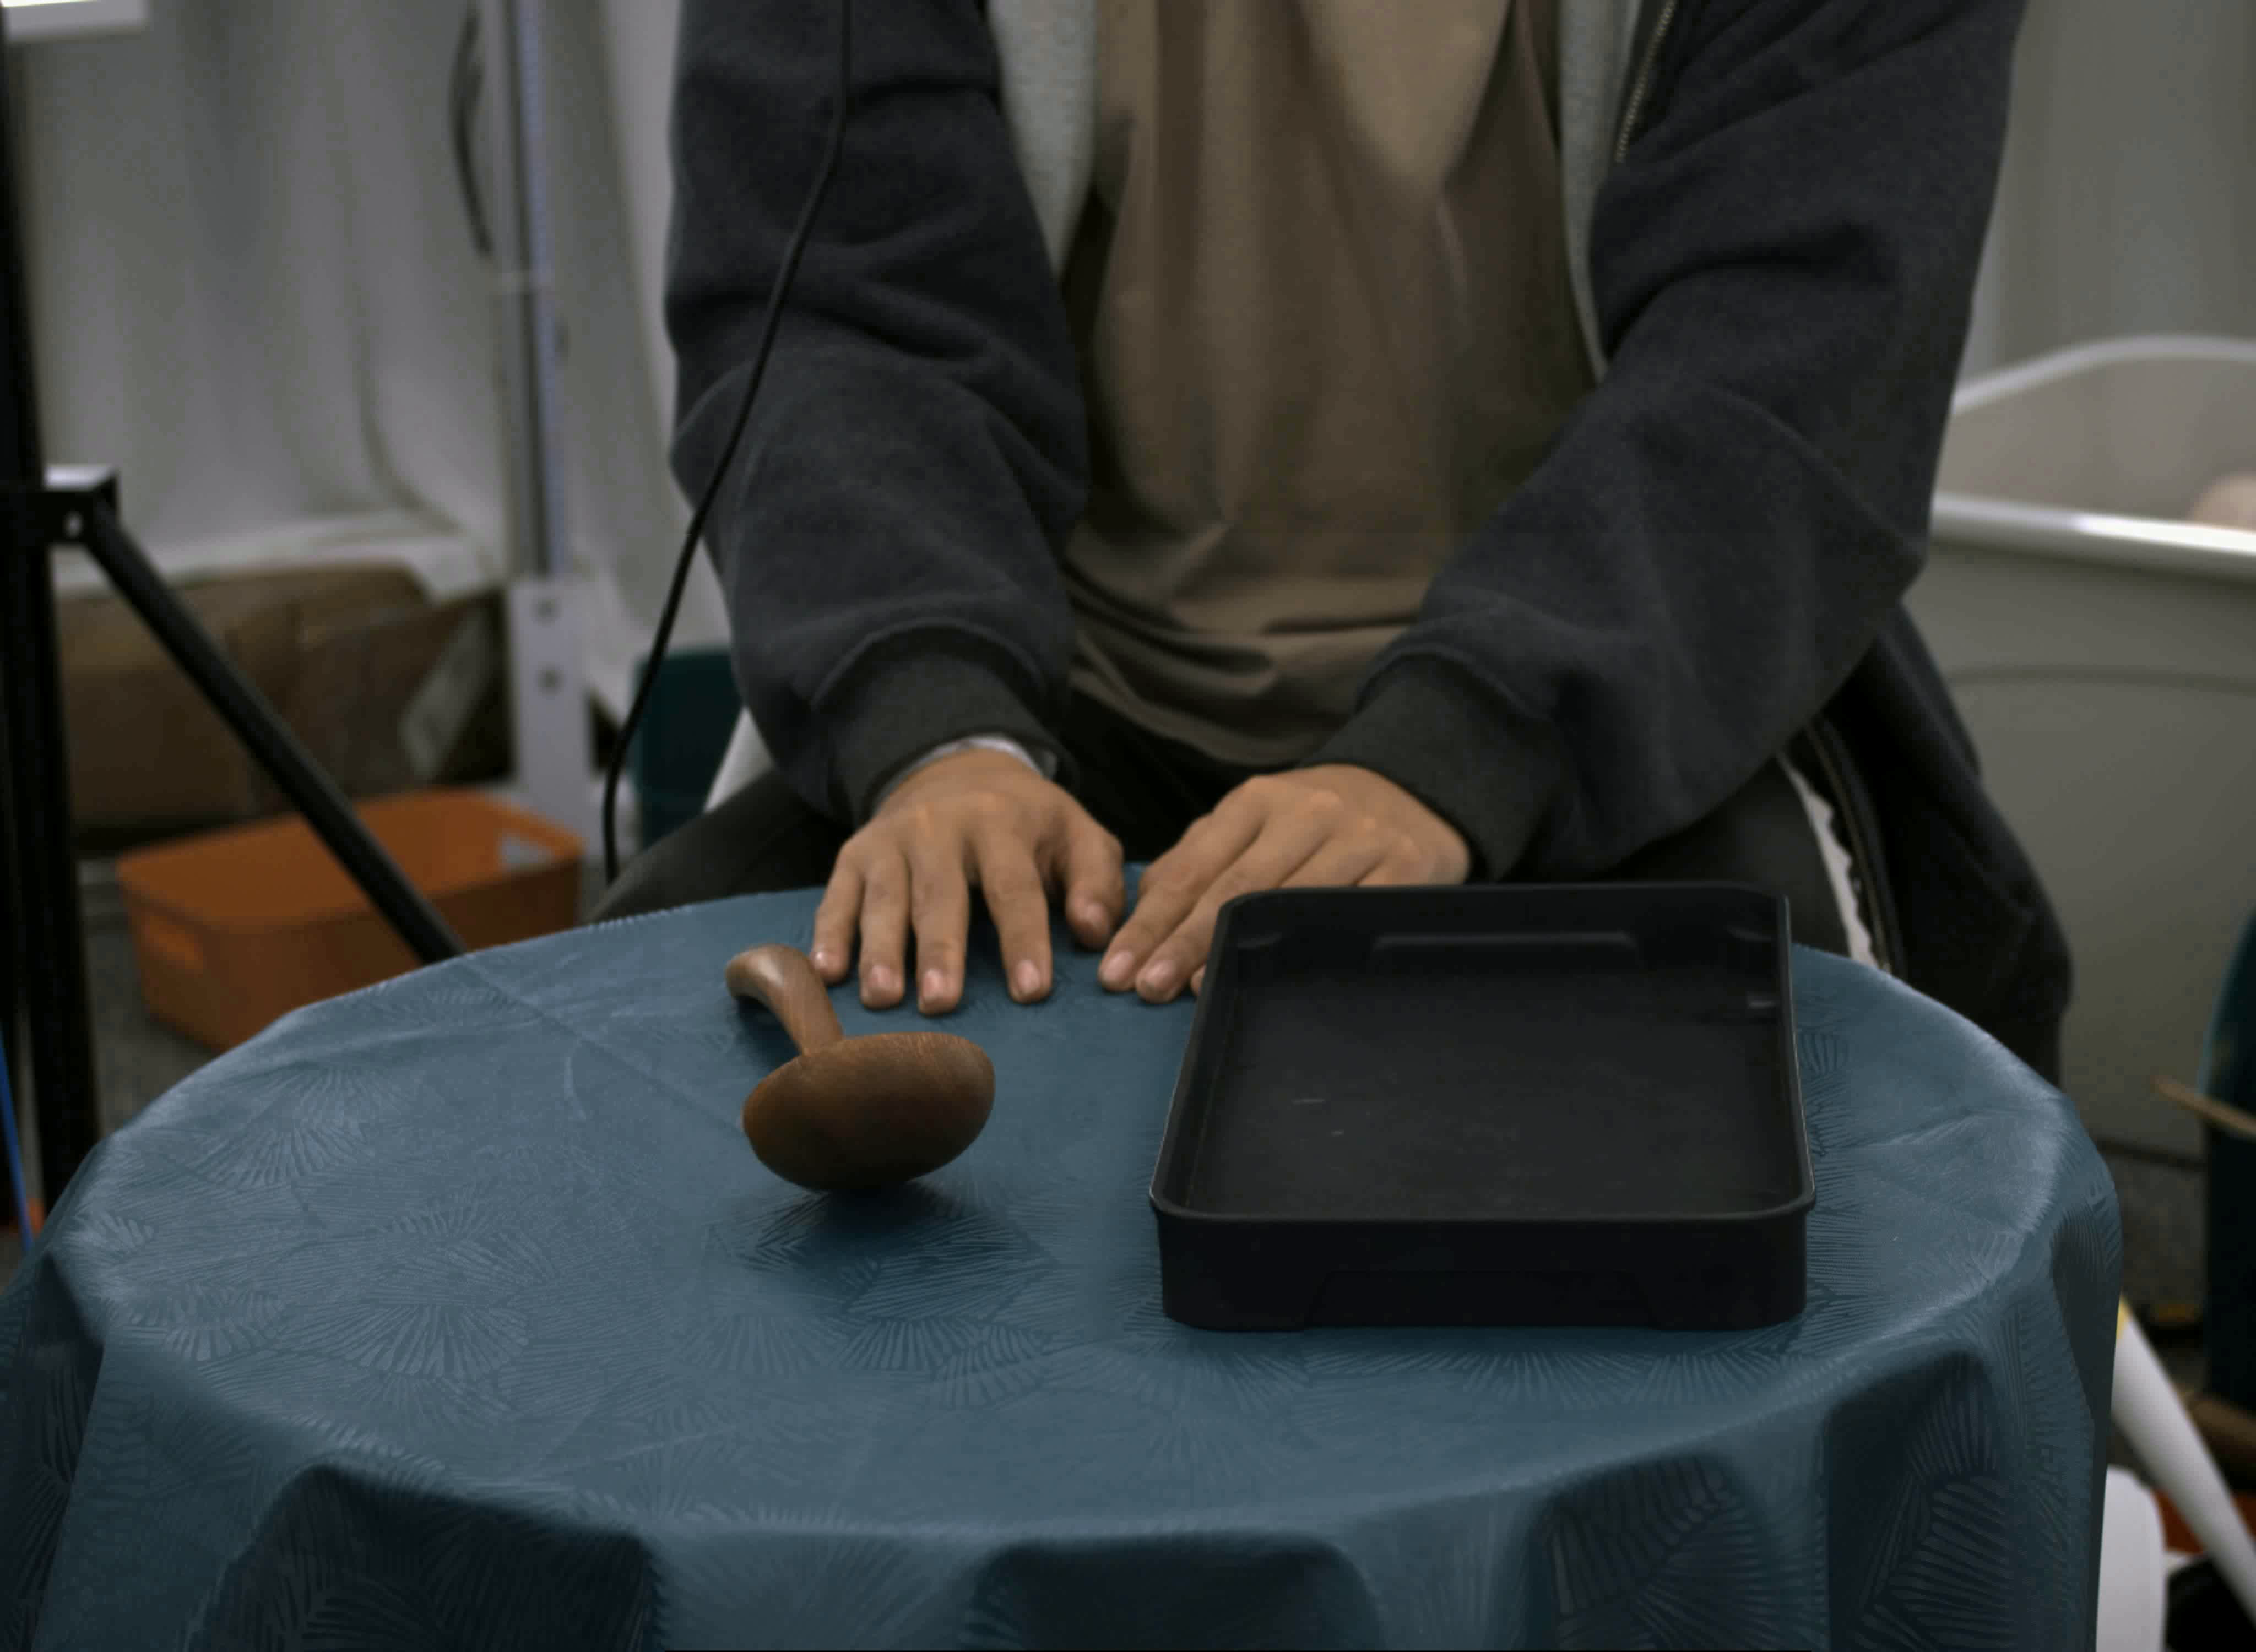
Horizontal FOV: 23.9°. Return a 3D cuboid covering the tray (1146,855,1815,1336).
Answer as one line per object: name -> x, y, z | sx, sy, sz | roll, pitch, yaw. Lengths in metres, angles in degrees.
tray -> 0.108, 0.075, 1.581 | 0.184, 0.037, 0.318 | -1, 17, 6

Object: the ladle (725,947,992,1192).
ladle -> -0.096, 0.057, 1.637 | 0.075, 0.065, 0.263 | -7, 16, -11
